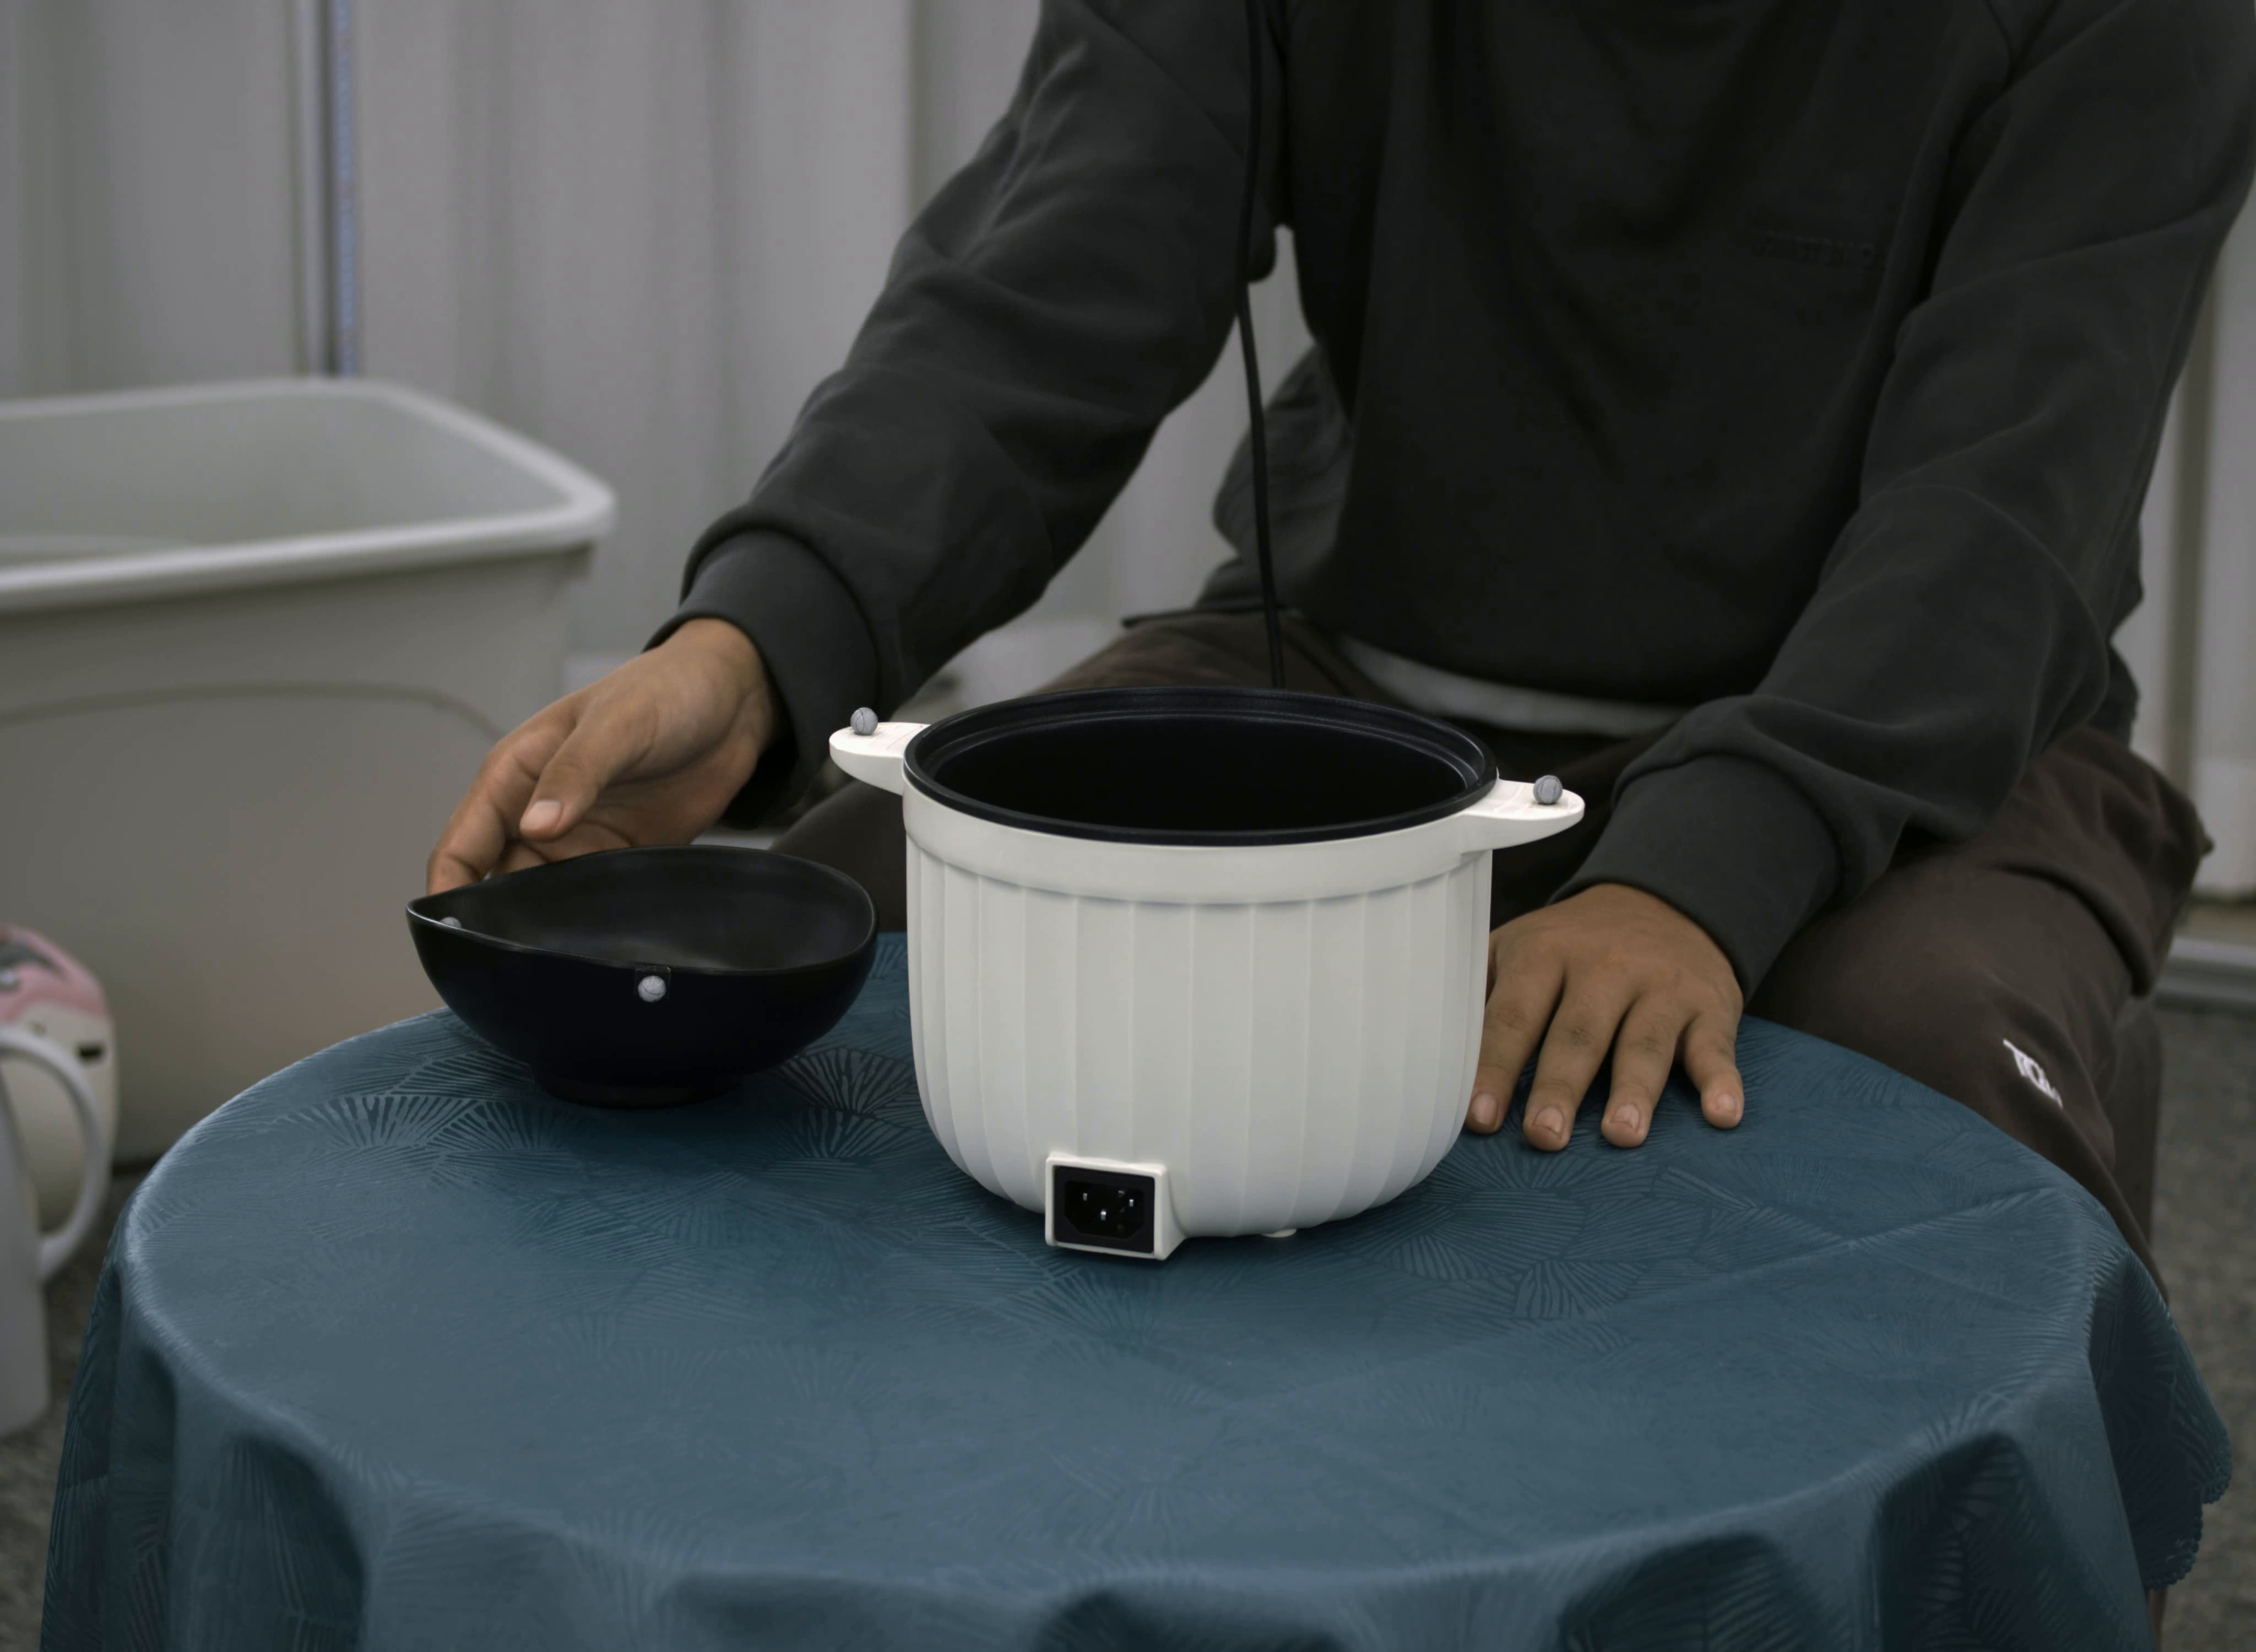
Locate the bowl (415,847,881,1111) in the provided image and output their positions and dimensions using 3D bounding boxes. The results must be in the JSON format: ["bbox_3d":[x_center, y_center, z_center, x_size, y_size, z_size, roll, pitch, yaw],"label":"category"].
[{"bbox_3d":[-0.158,0.053,1.714,0.168,0.067,0.138,11,18,36],"label":"bowl"}]

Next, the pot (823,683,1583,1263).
[{"bbox_3d":[0.021,0.041,1.626,0.238,0.144,0.190,7,20,16],"label":"pot"}]
